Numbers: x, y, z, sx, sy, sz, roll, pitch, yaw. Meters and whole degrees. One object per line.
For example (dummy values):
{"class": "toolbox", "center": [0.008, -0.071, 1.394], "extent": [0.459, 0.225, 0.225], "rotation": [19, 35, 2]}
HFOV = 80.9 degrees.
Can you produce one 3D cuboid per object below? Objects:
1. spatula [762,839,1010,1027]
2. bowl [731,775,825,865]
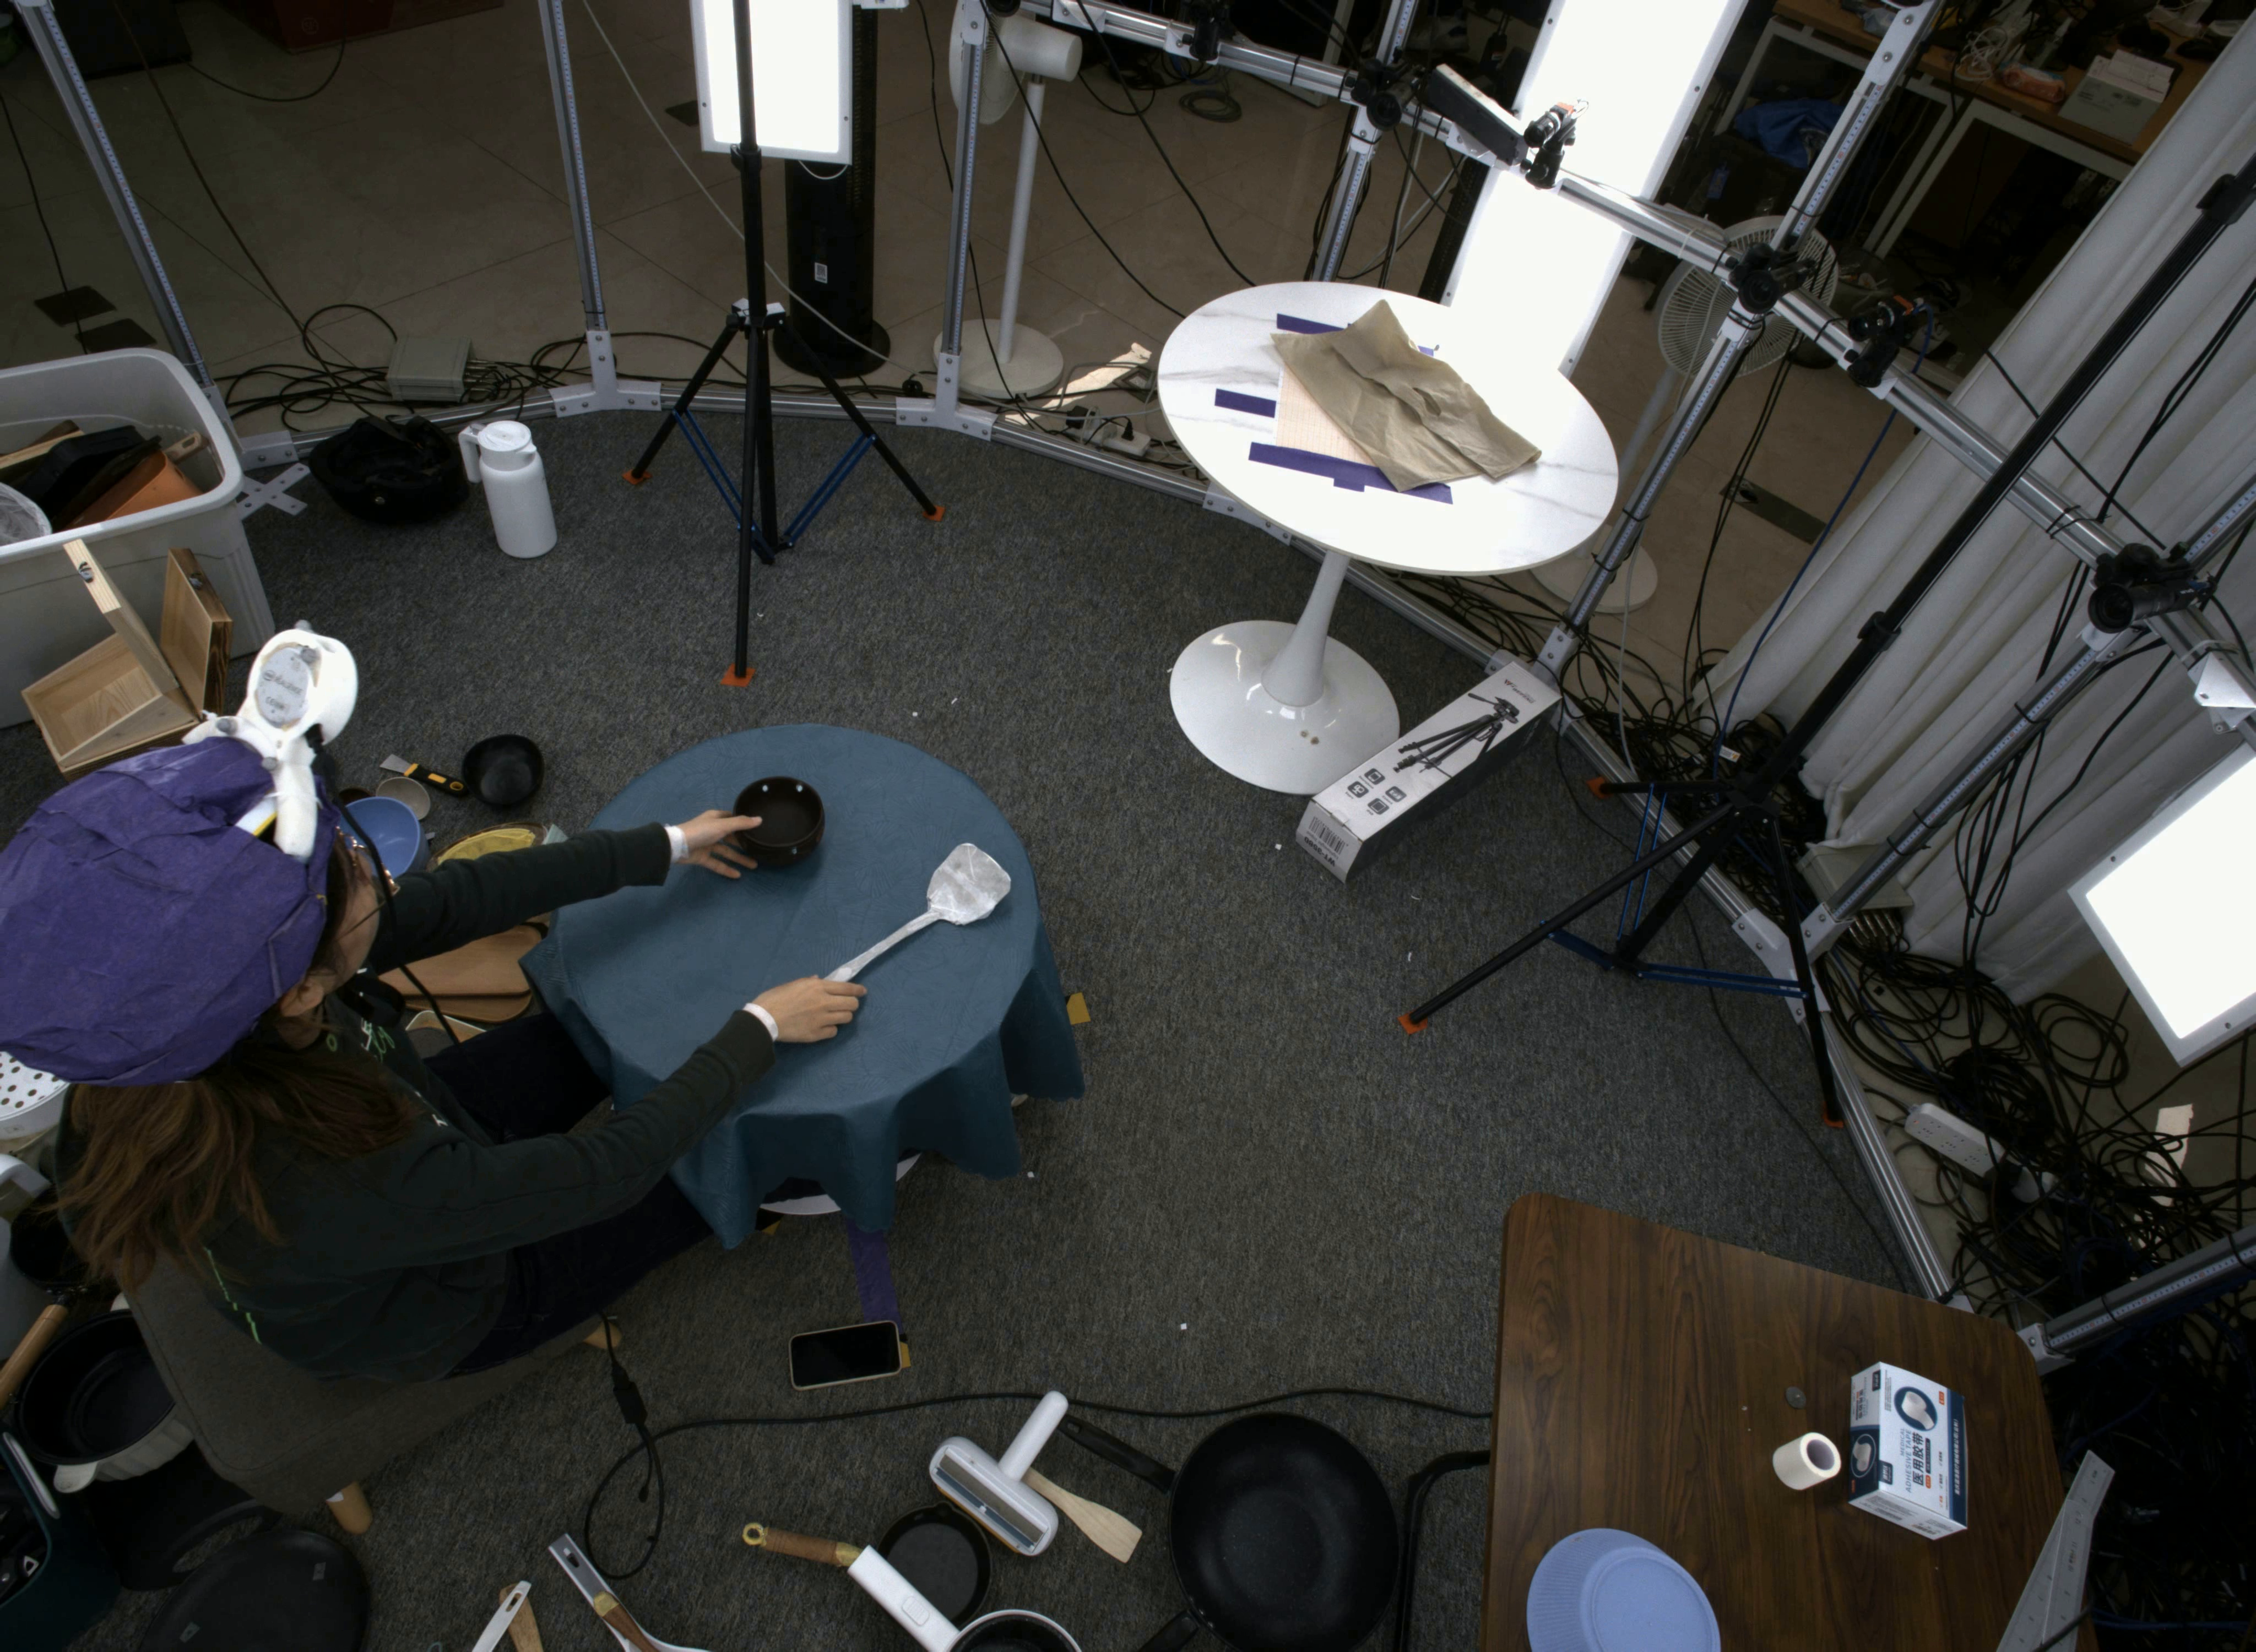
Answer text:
{"class": "spatula", "center": [-0.304, 0.140, 1.631], "extent": [0.097, 0.045, 0.366], "rotation": [43, 55, 16]}
{"class": "bowl", "center": [-0.451, -0.001, 1.676], "extent": [0.117, 0.071, 0.116], "rotation": [6, 52, -7]}
